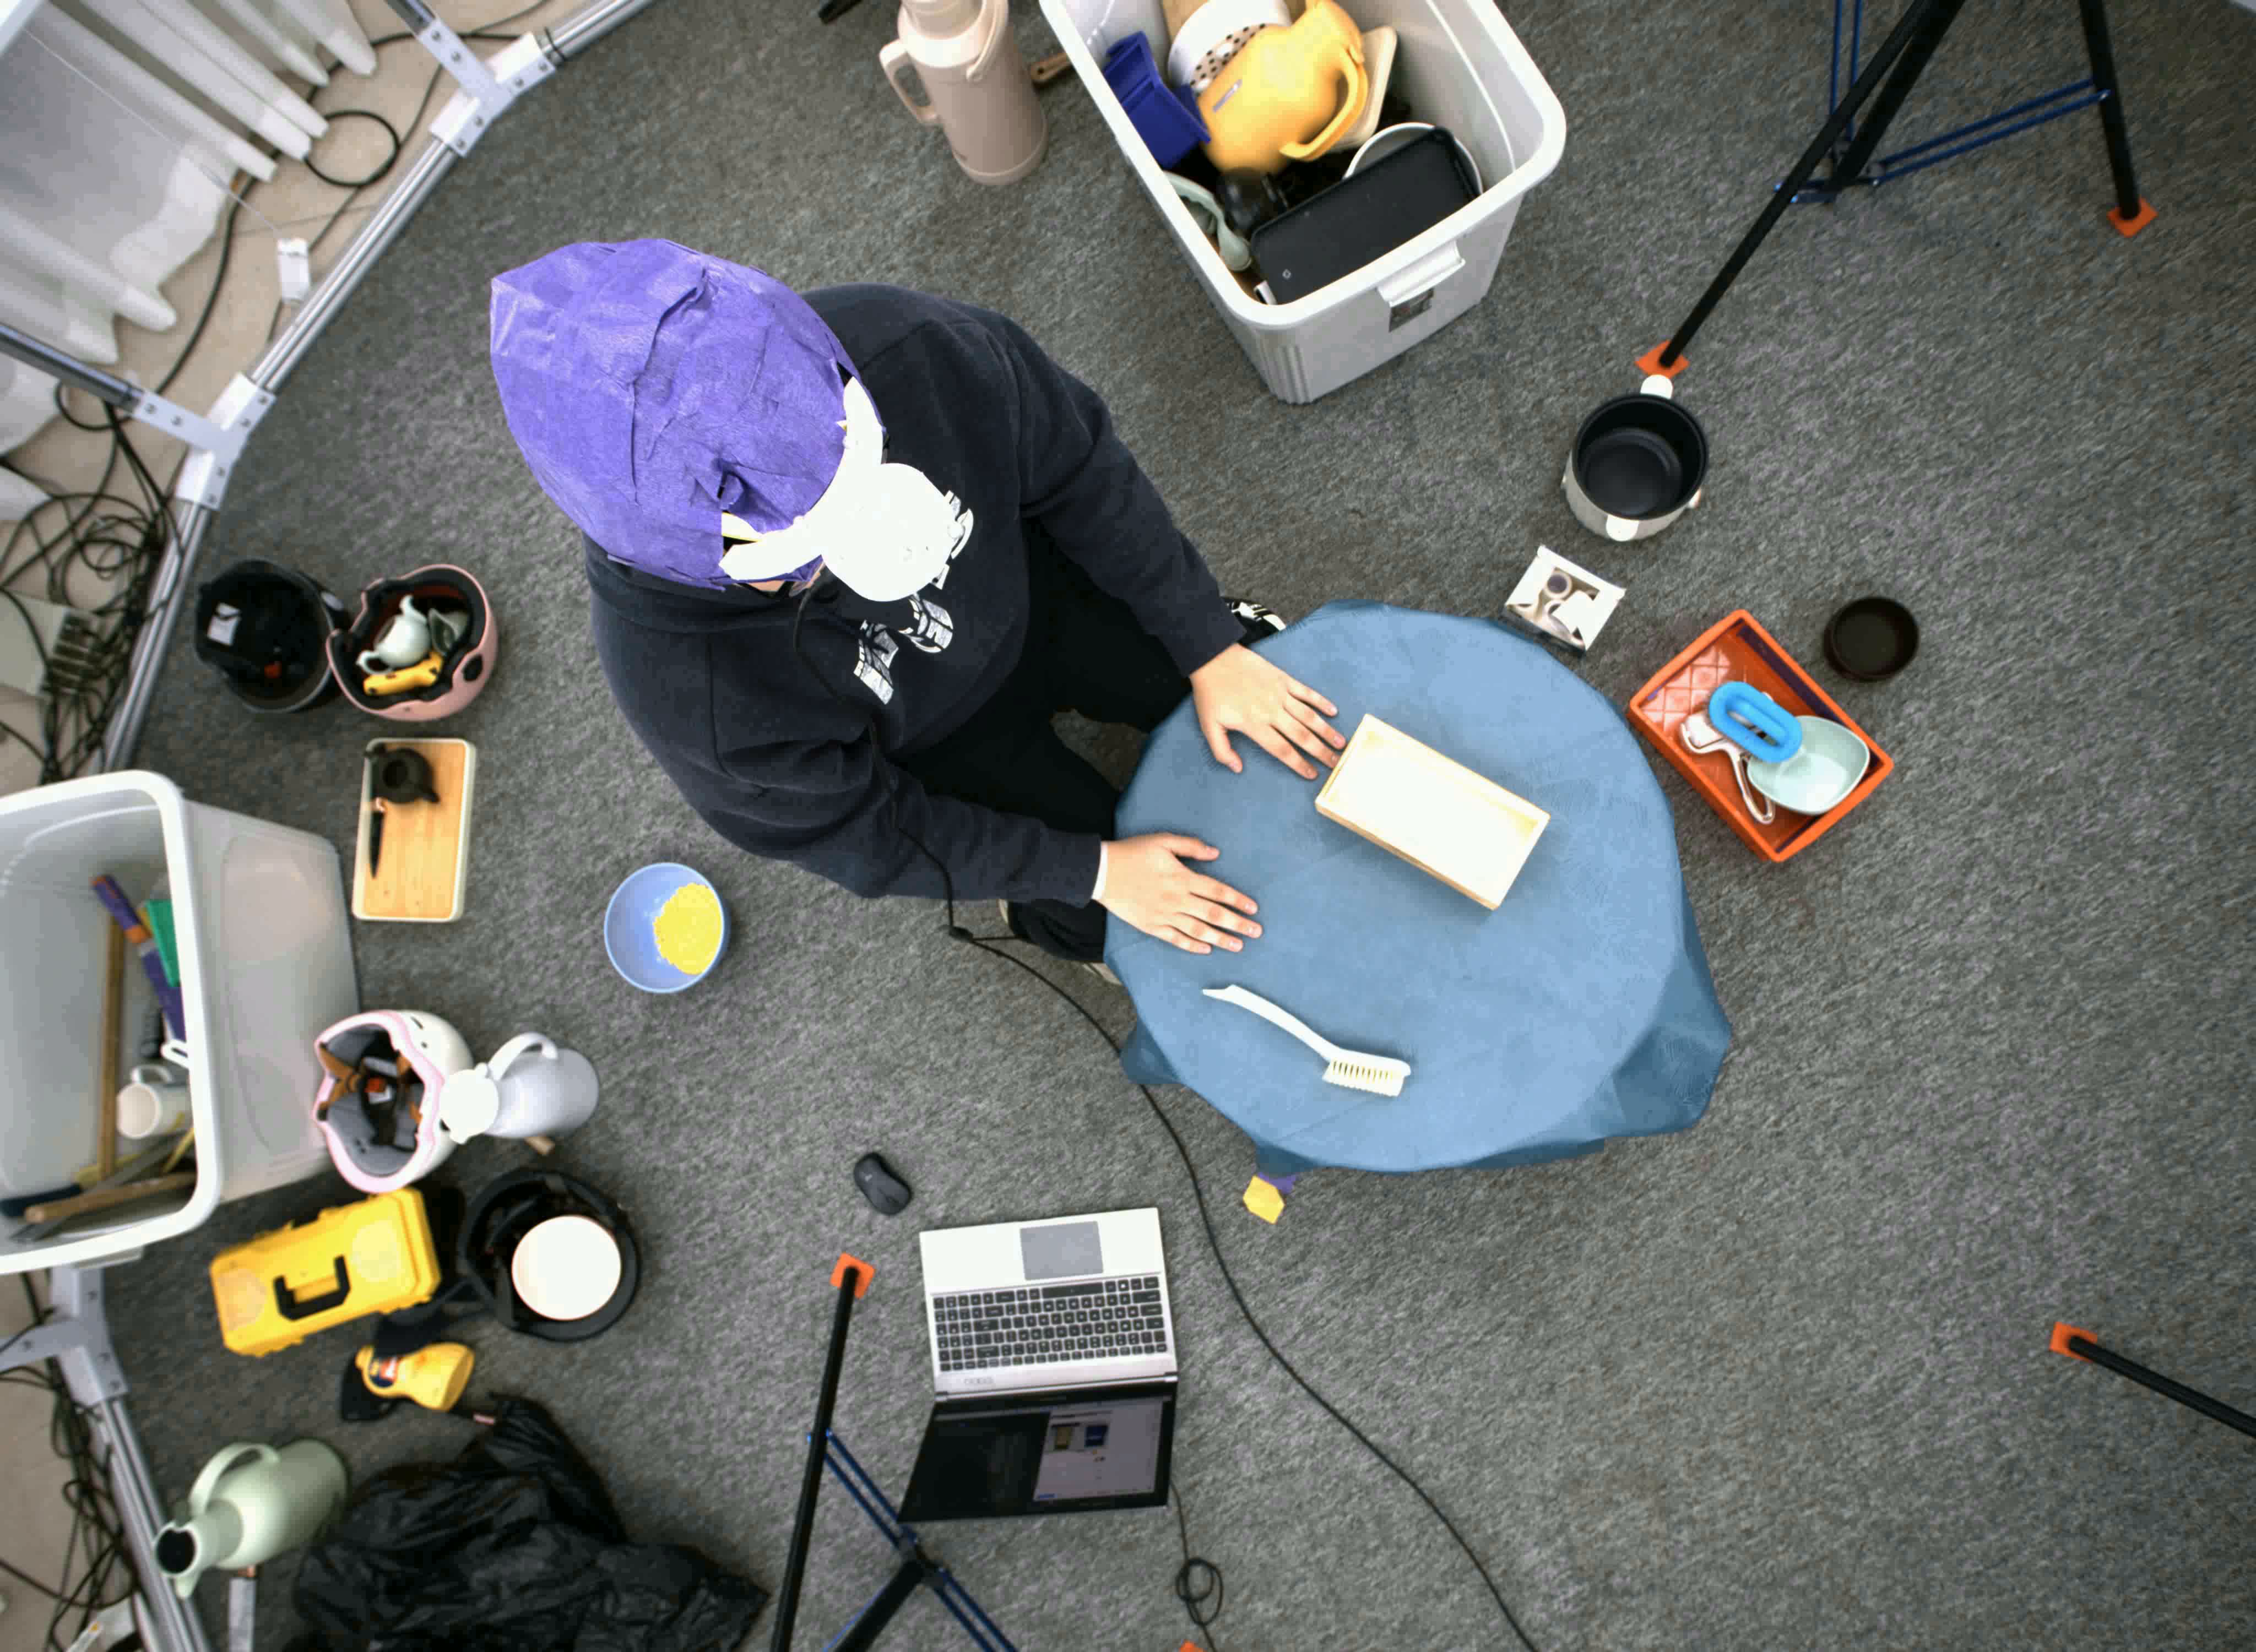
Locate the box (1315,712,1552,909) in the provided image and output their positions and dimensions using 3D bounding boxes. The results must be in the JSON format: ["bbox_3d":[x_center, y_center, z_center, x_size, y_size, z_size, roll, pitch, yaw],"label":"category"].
[{"bbox_3d":[0.311,-0.016,1.417,0.211,0.080,0.107,30,91,11],"label":"box"}]

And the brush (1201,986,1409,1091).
[{"bbox_3d":[0.180,0.222,1.450,0.228,0.038,0.049,23,83,11],"label":"brush"}]
